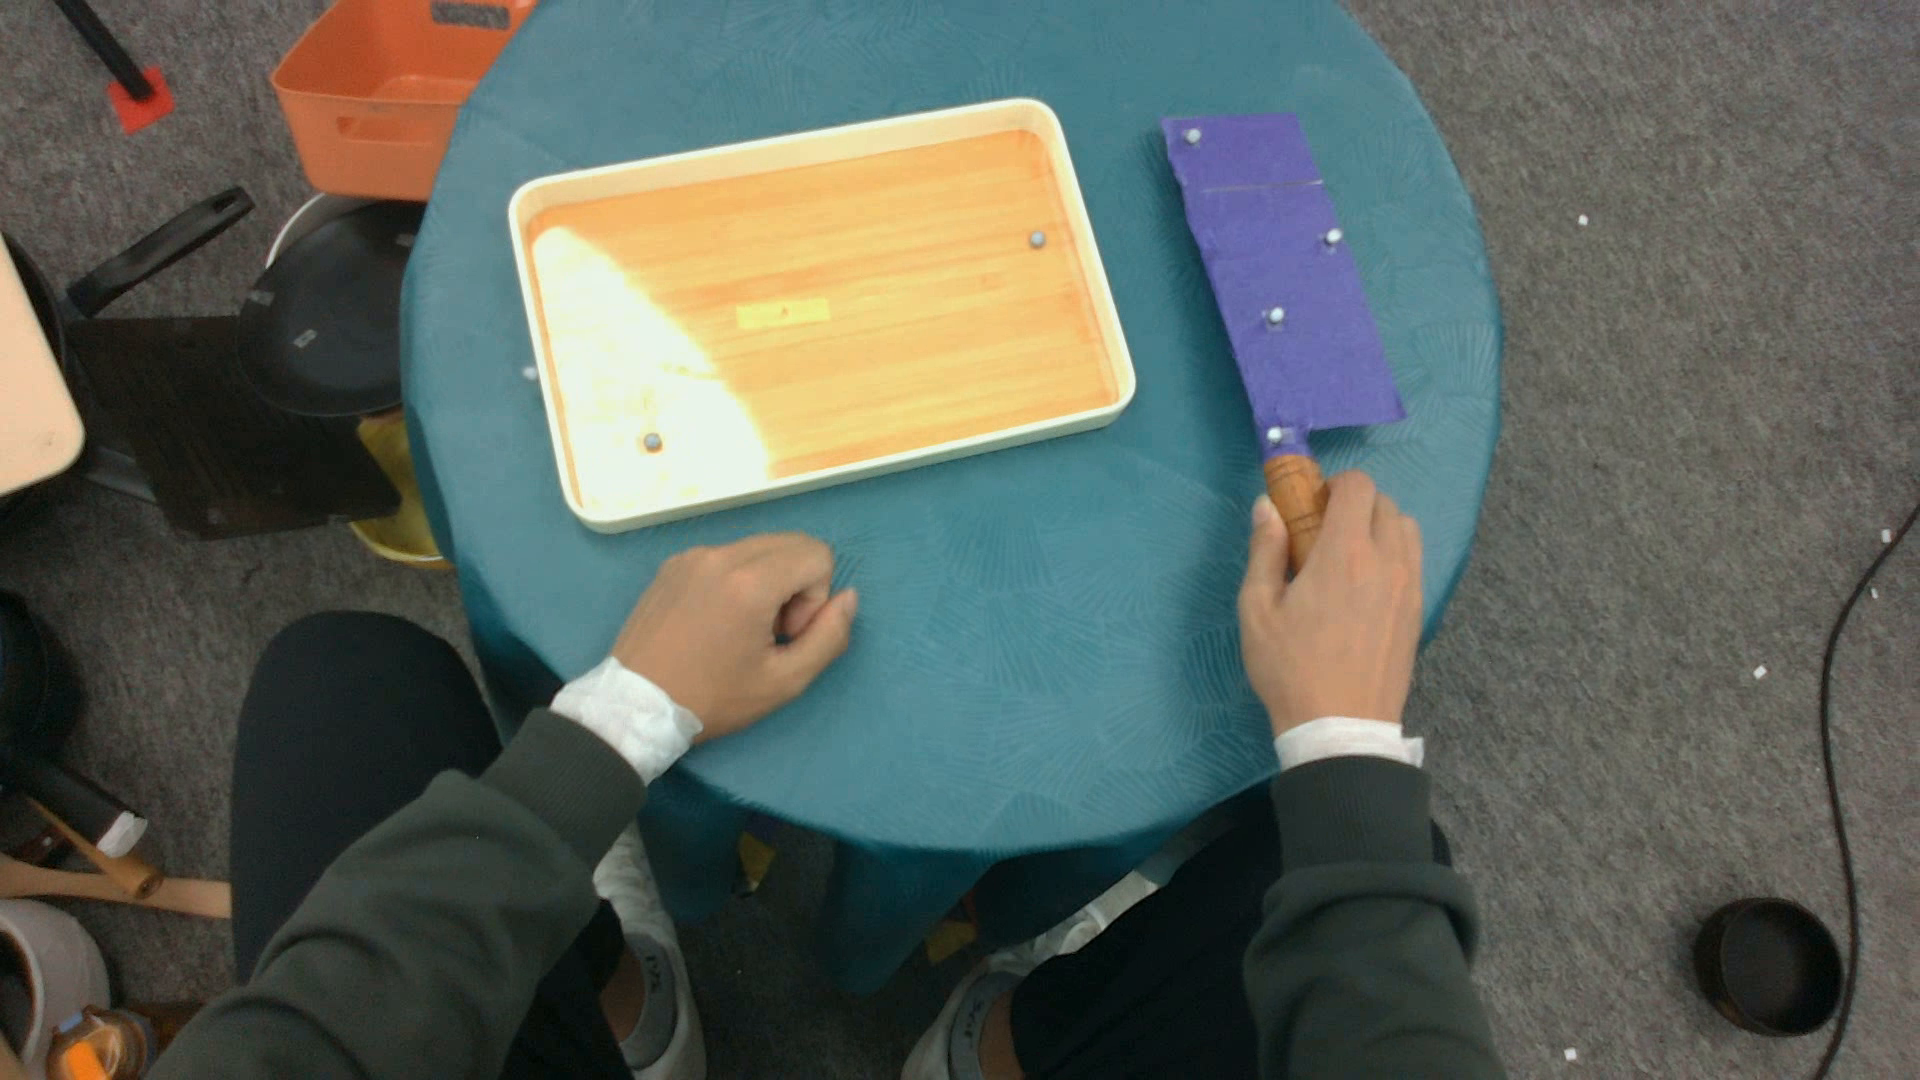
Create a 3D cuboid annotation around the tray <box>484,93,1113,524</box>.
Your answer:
[{"bbox_3d":[-0.083,-0.128,0.731,0.301,0.027,0.192,-13,76,-11],"label":"tray"}]

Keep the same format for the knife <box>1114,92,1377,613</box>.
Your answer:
[{"bbox_3d":[0.173,-0.116,0.745,0.104,0.032,0.316,-8,70,-19],"label":"knife"}]
